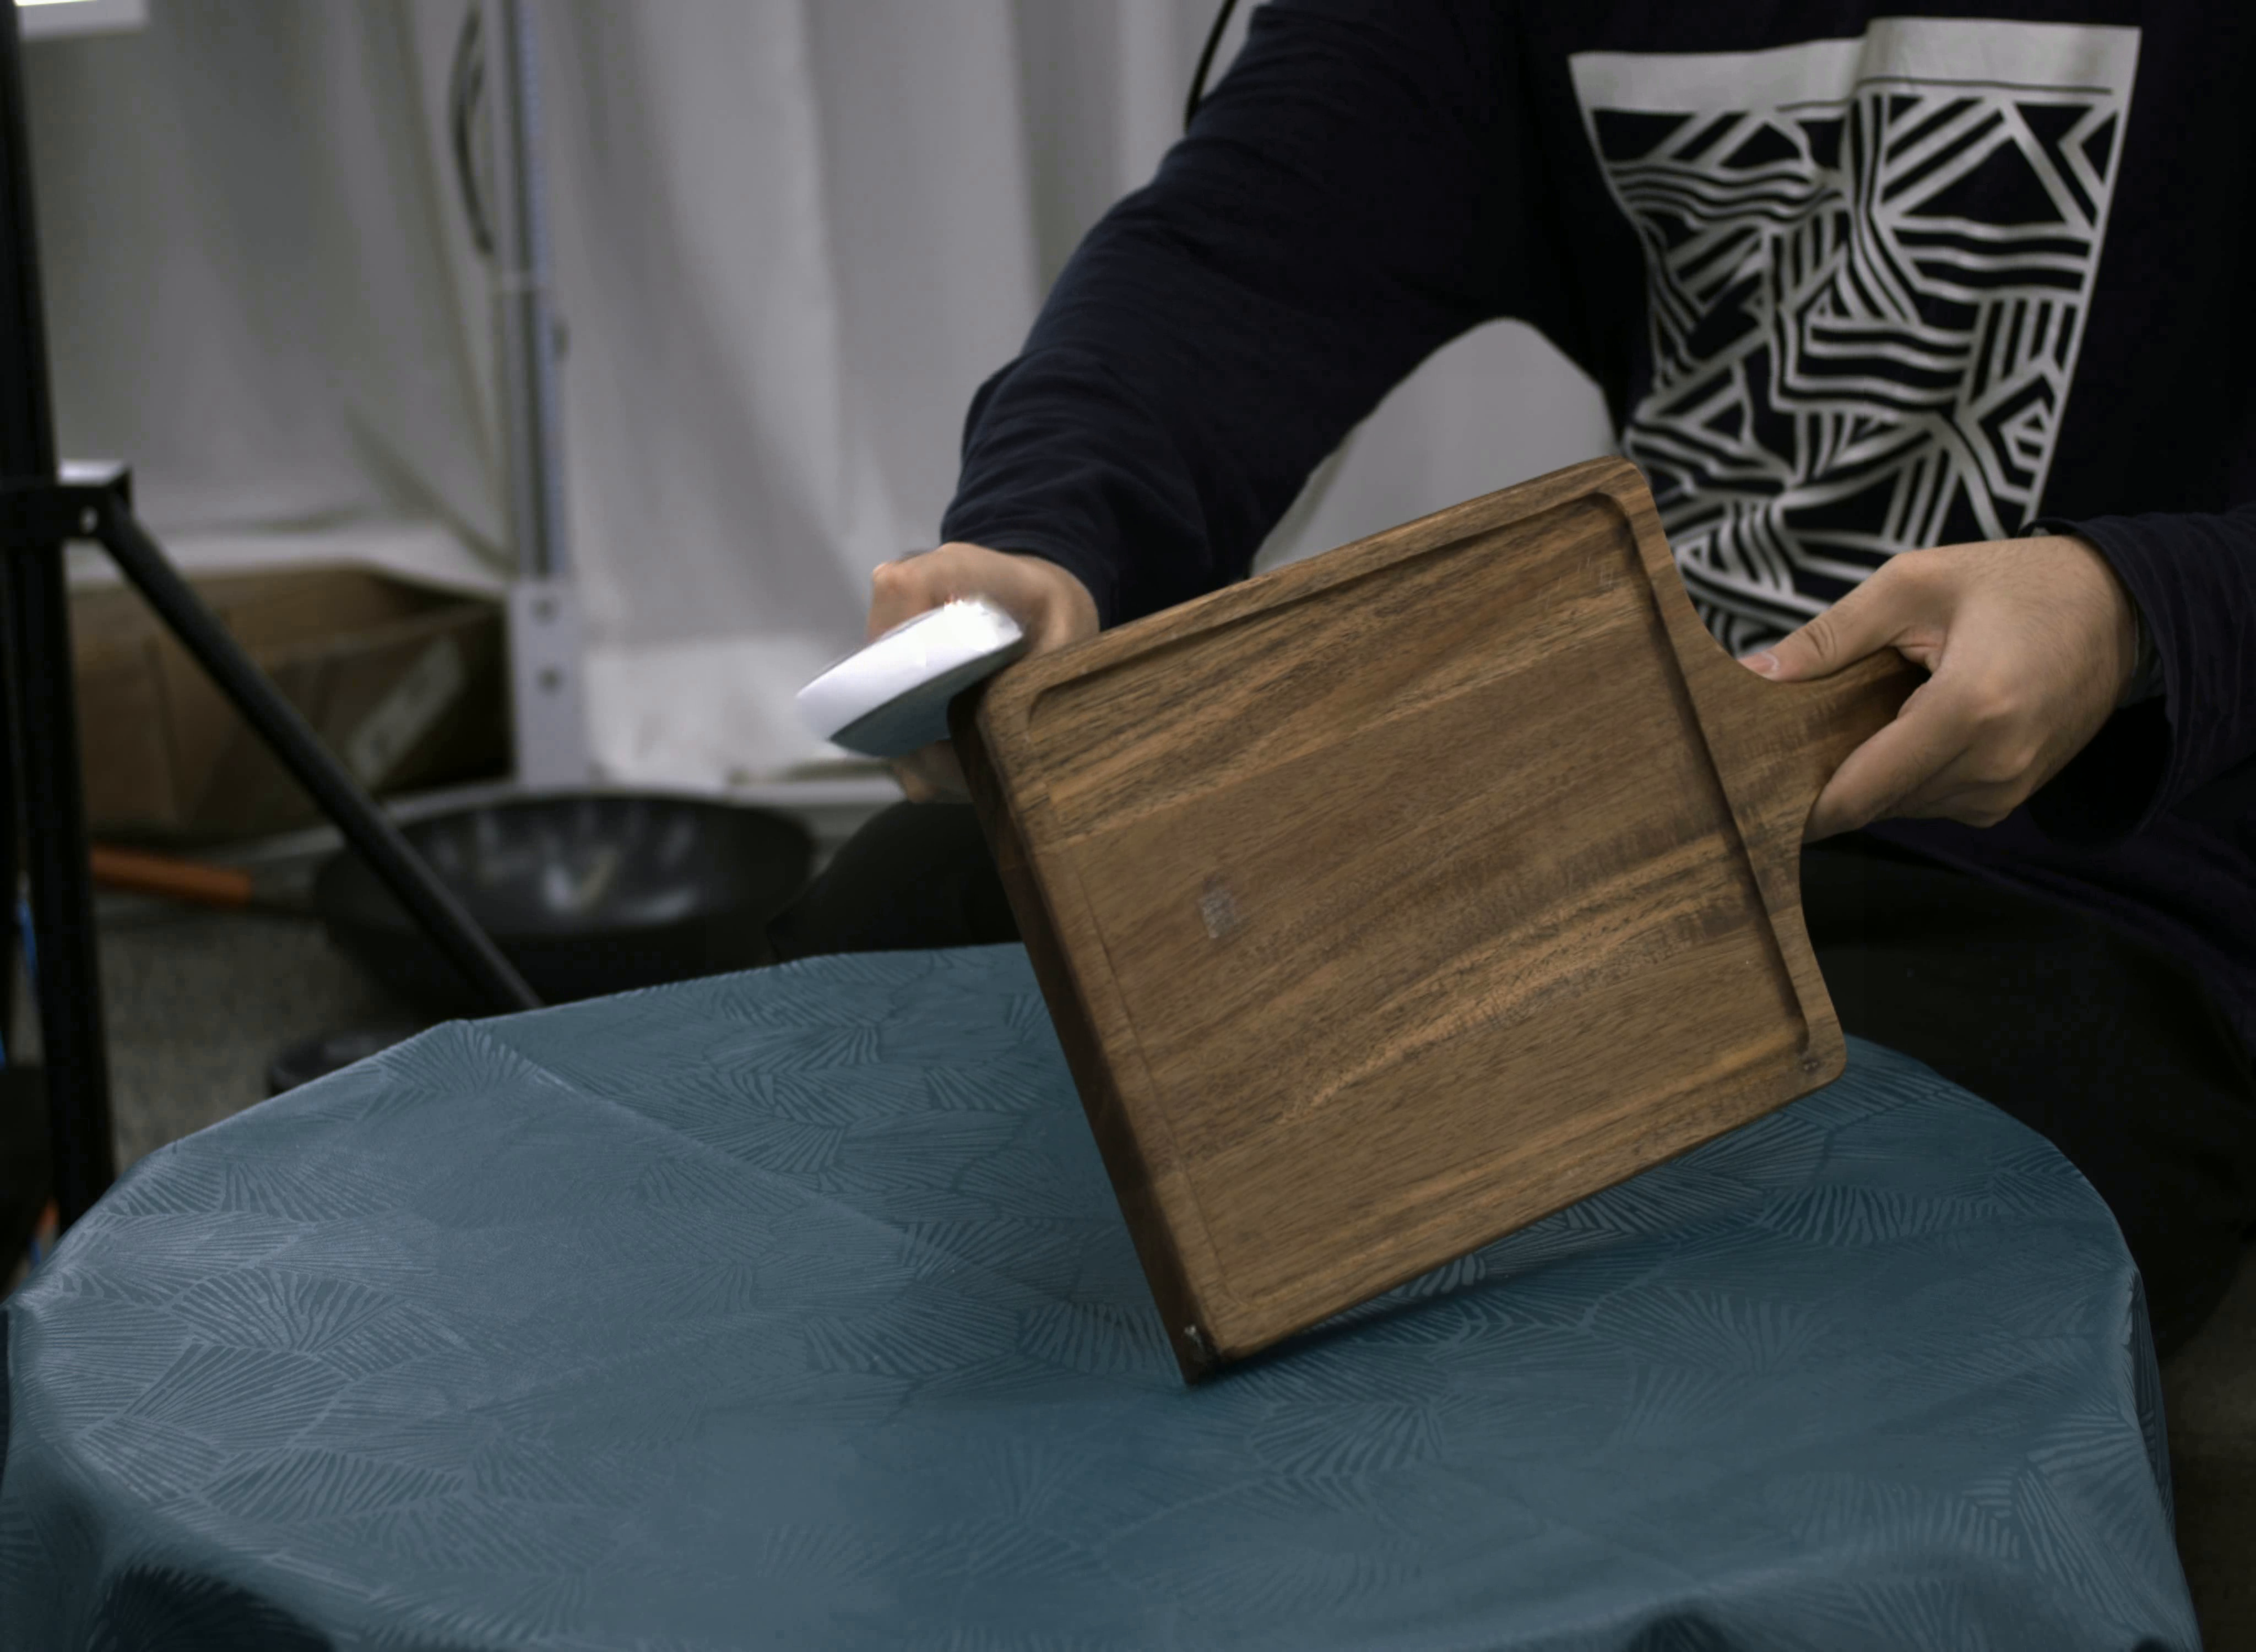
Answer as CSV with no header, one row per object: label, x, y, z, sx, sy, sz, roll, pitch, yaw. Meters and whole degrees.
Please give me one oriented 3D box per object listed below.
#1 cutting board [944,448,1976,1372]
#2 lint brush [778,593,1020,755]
cutting board,0.118,0.005,1.512,0.345,0.202,0.023,-20,-1,-34
lint brush,-0.056,-0.040,1.527,0.060,0.021,0.307,-32,-3,3
